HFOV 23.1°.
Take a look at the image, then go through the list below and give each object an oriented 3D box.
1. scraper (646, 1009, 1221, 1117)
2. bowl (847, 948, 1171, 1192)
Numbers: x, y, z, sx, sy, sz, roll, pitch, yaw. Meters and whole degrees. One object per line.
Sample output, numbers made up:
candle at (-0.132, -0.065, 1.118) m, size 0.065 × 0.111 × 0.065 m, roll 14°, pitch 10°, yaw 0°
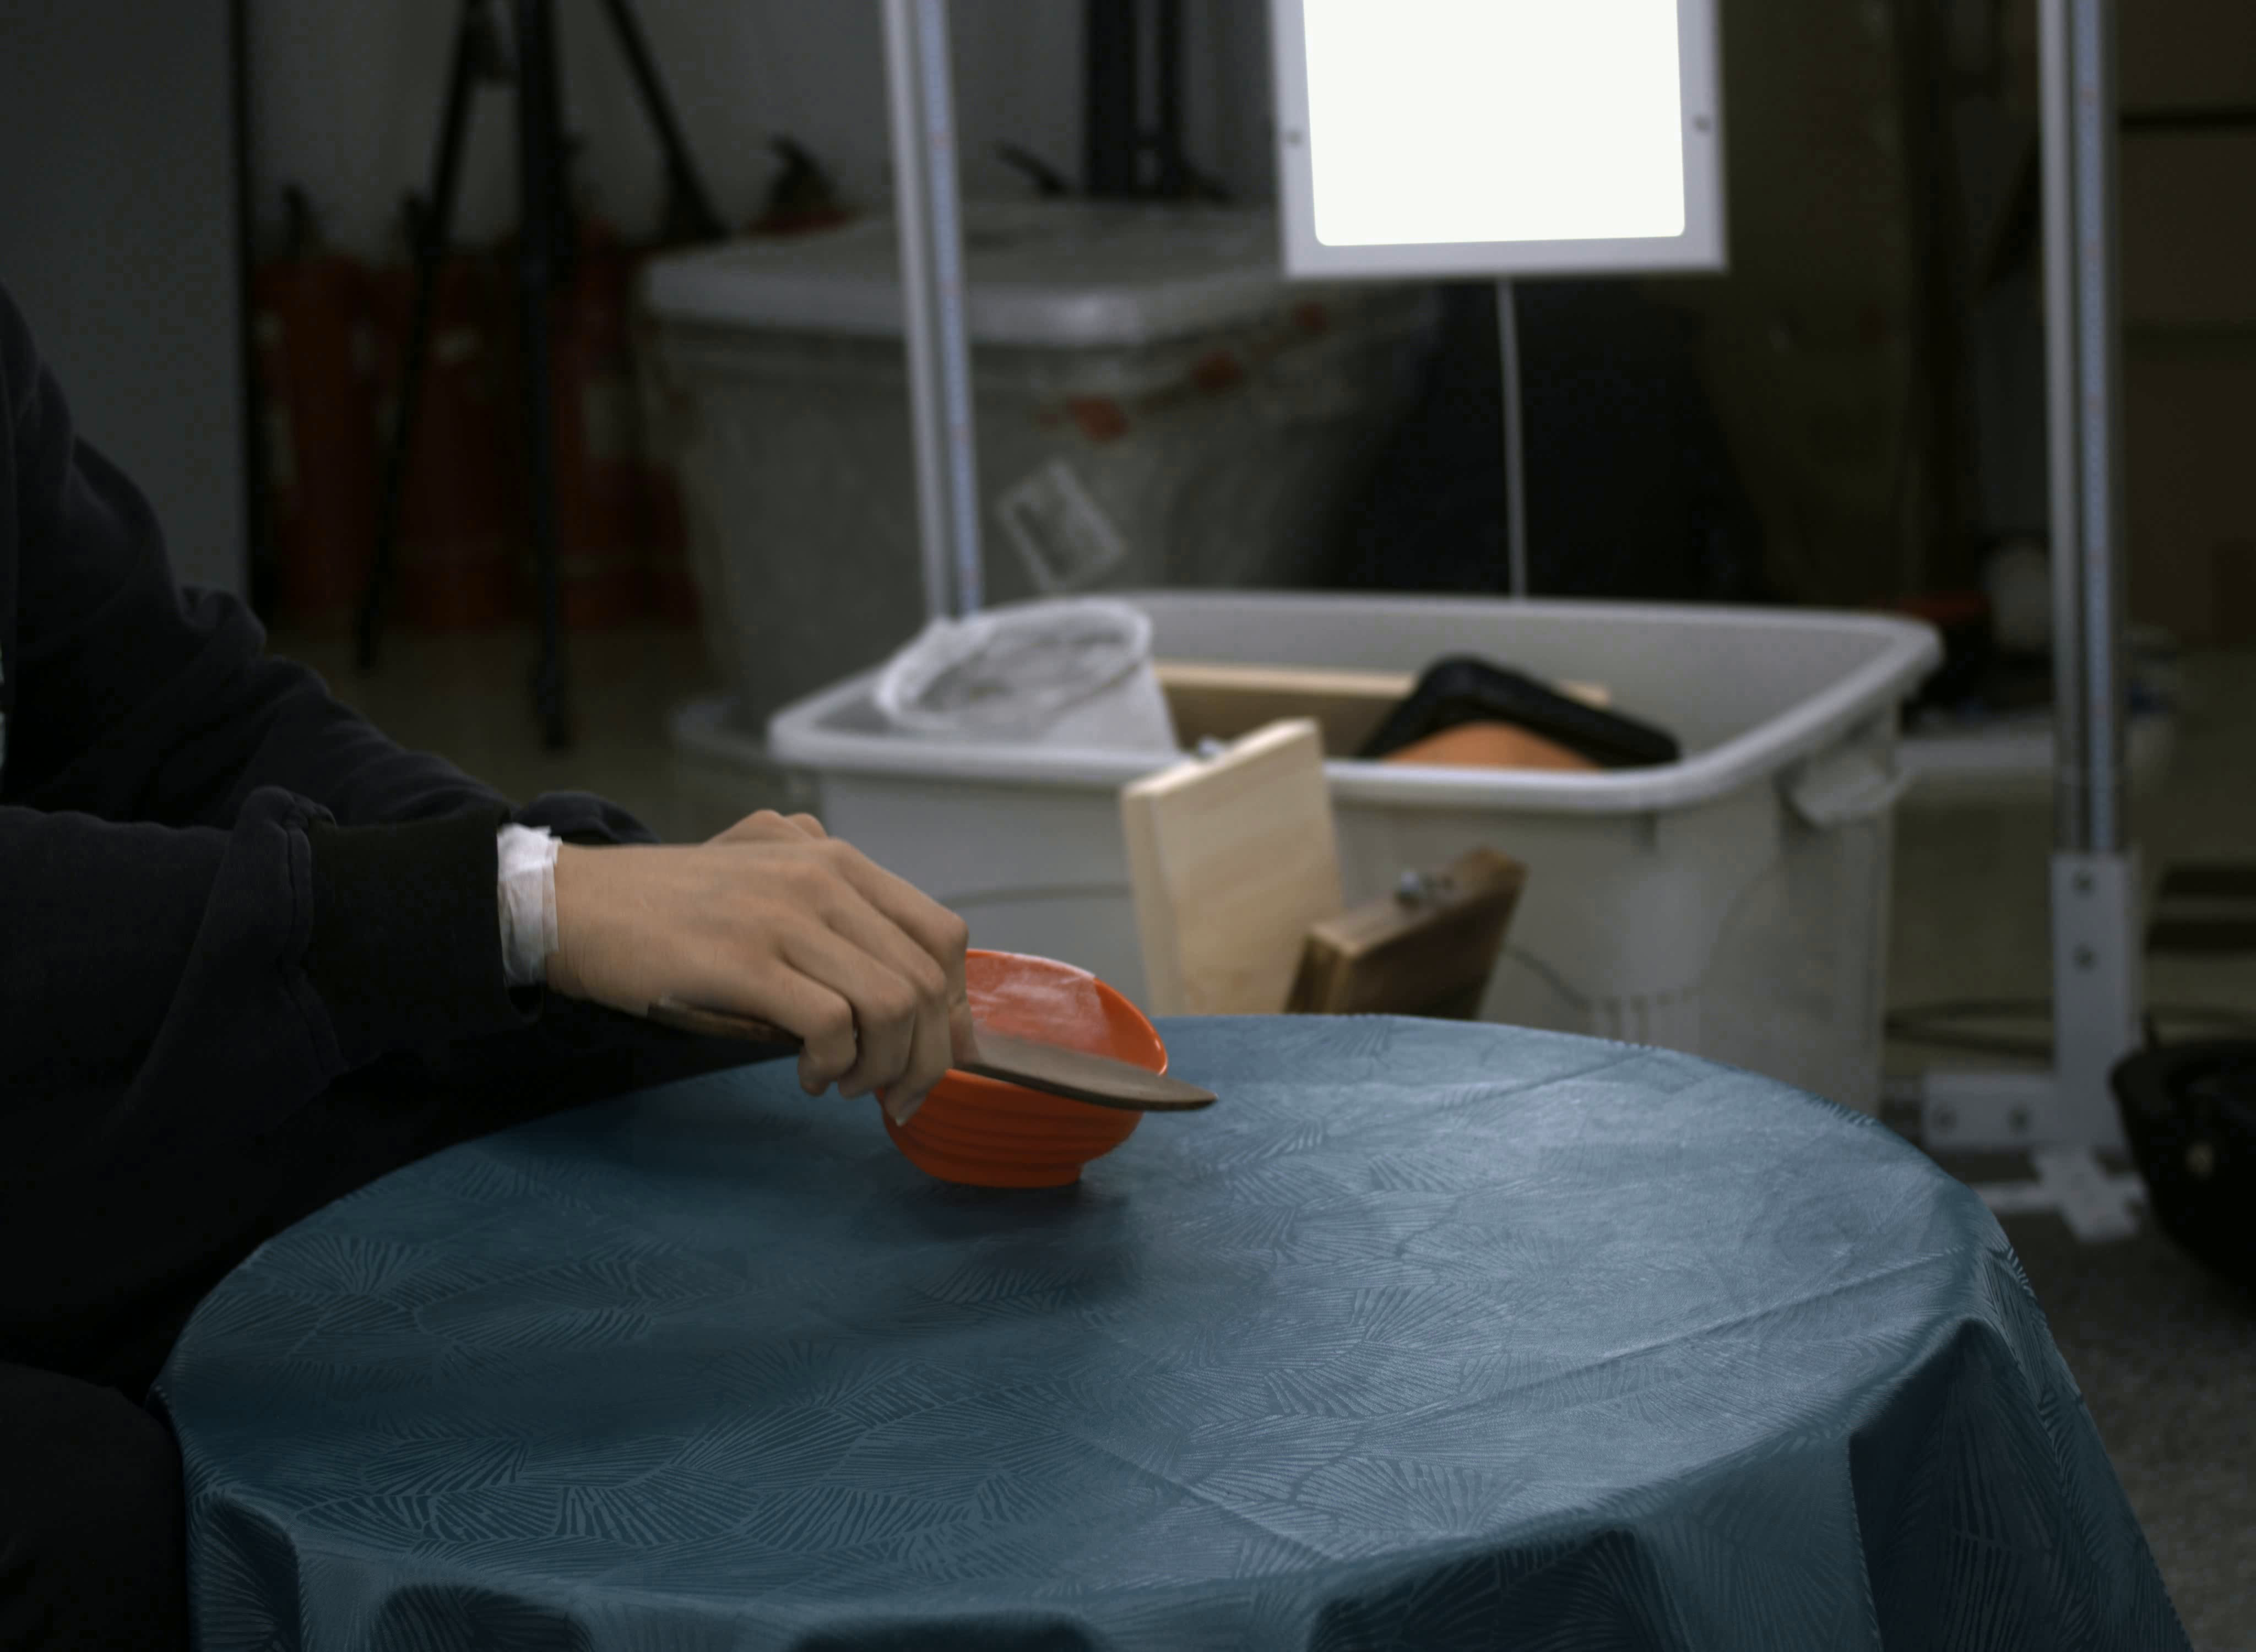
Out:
scraper at (-0.065, 0.075, 1.760) m, size 0.206 × 0.011 × 0.077 m, roll 11°, pitch 1°, yaw -40°
bowl at (-0.046, 0.089, 1.920) m, size 0.118 × 0.052 × 0.118 m, roll 11°, pitch 22°, yaw -6°
